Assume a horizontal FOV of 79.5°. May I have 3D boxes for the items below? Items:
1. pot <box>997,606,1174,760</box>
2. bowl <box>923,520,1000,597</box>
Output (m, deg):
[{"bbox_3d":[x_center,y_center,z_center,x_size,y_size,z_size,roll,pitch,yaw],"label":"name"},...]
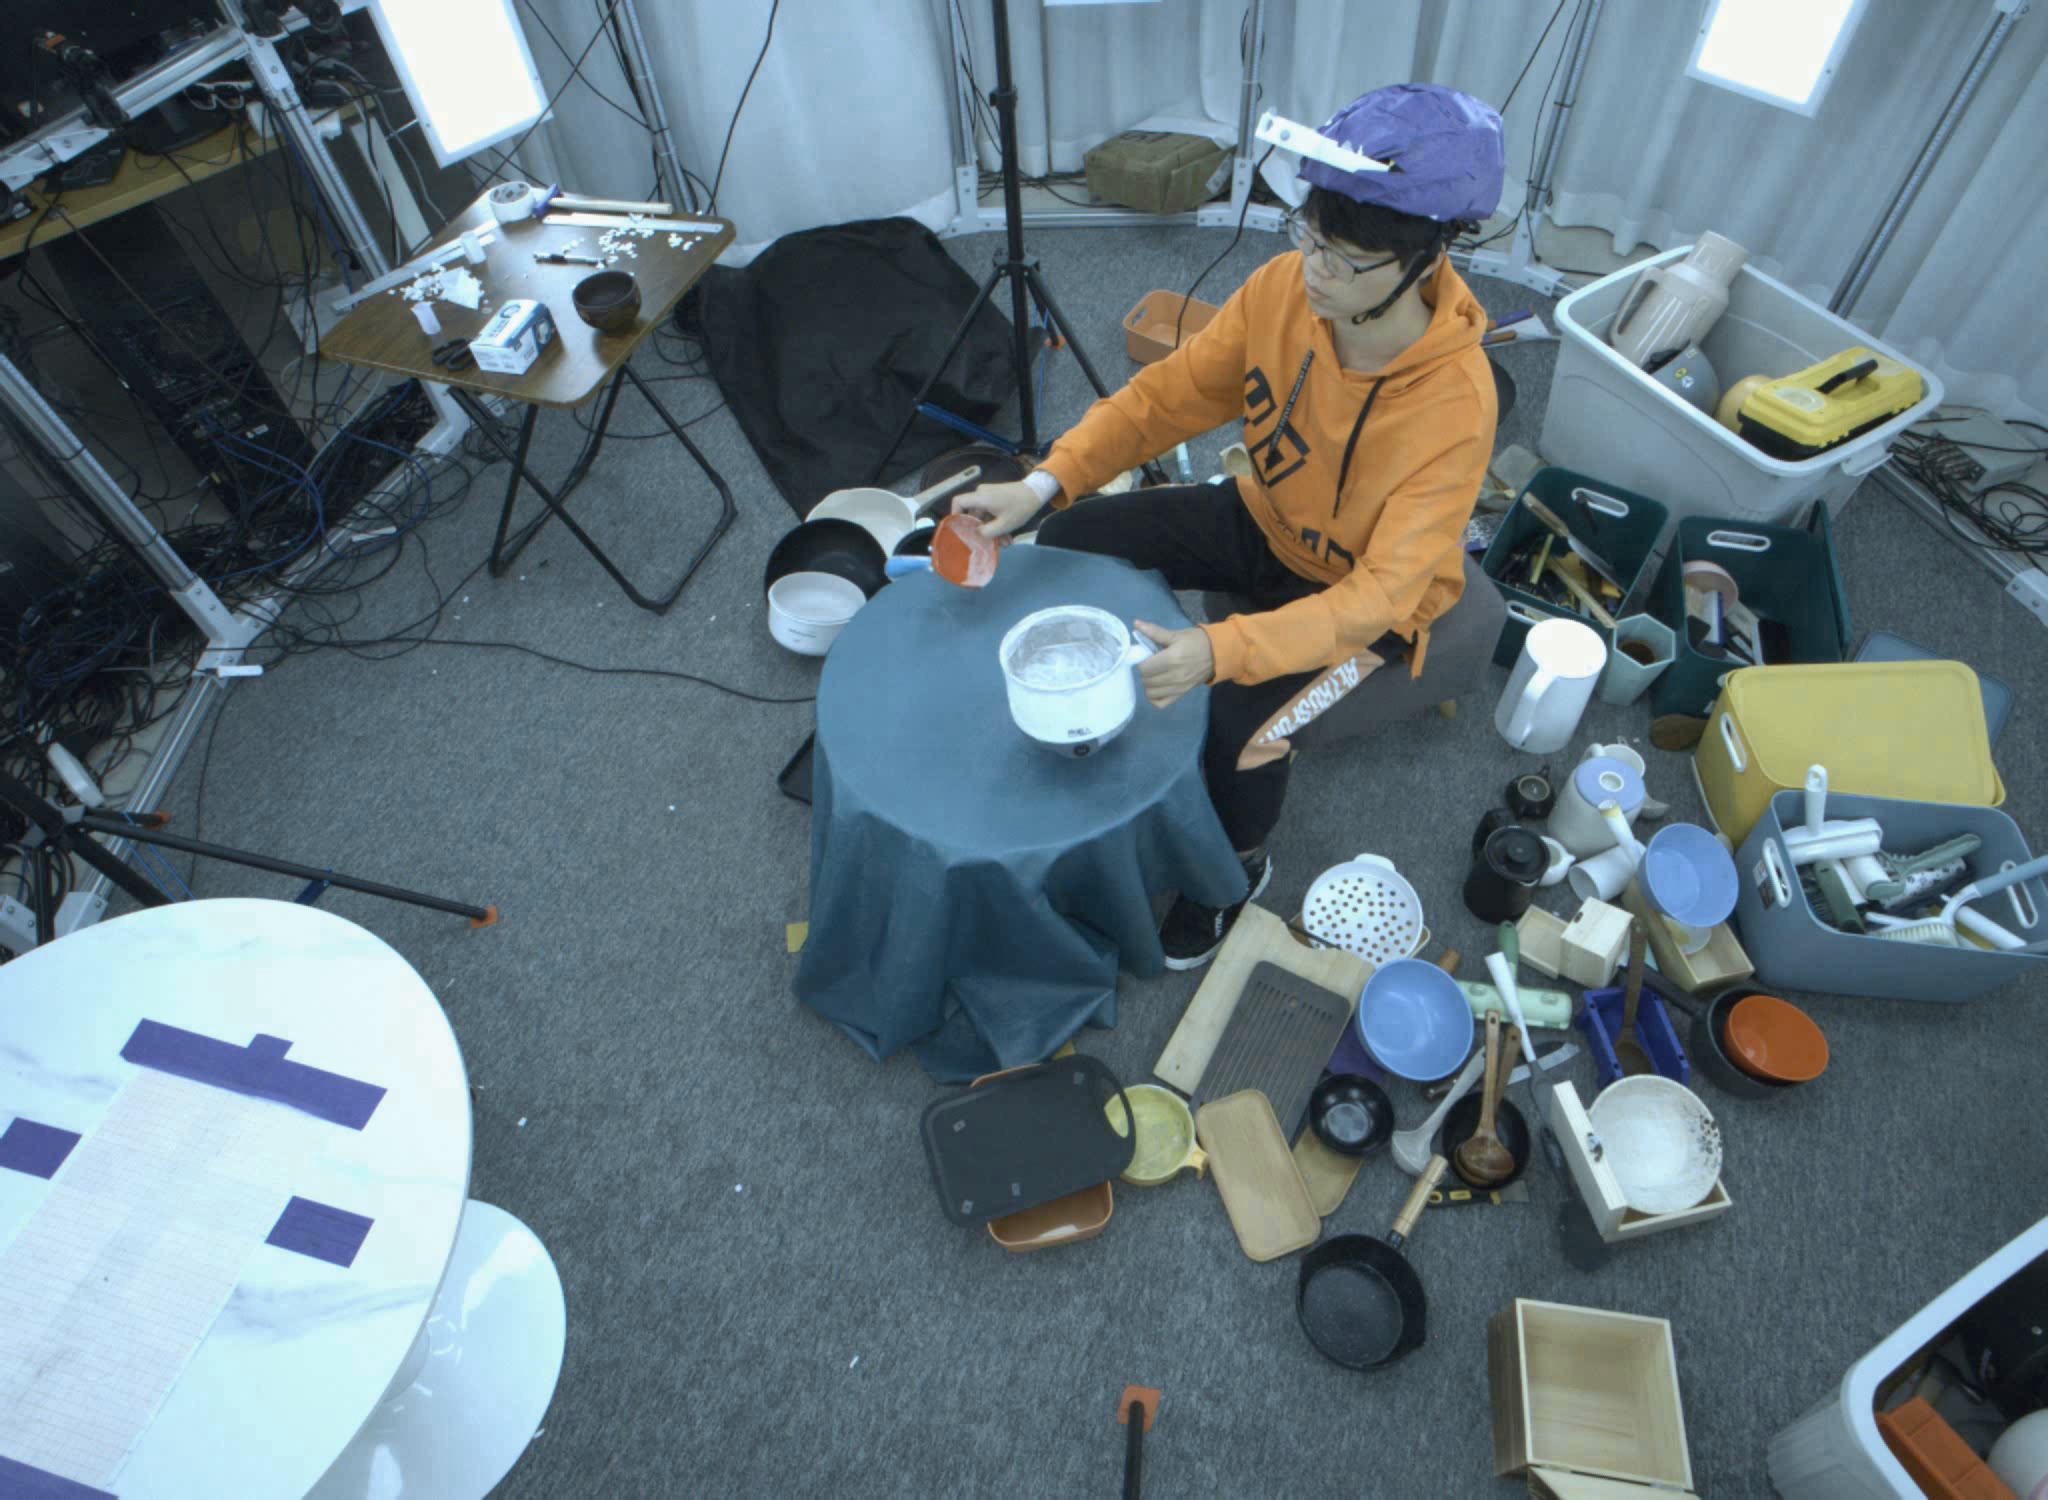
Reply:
[{"bbox_3d":[0.088,-0.098,1.694,0.234,0.138,0.176,-11,46,0],"label":"pot"},{"bbox_3d":[-0.100,-0.292,1.878,0.120,0.050,0.119,-1,95,-16],"label":"bowl"}]
